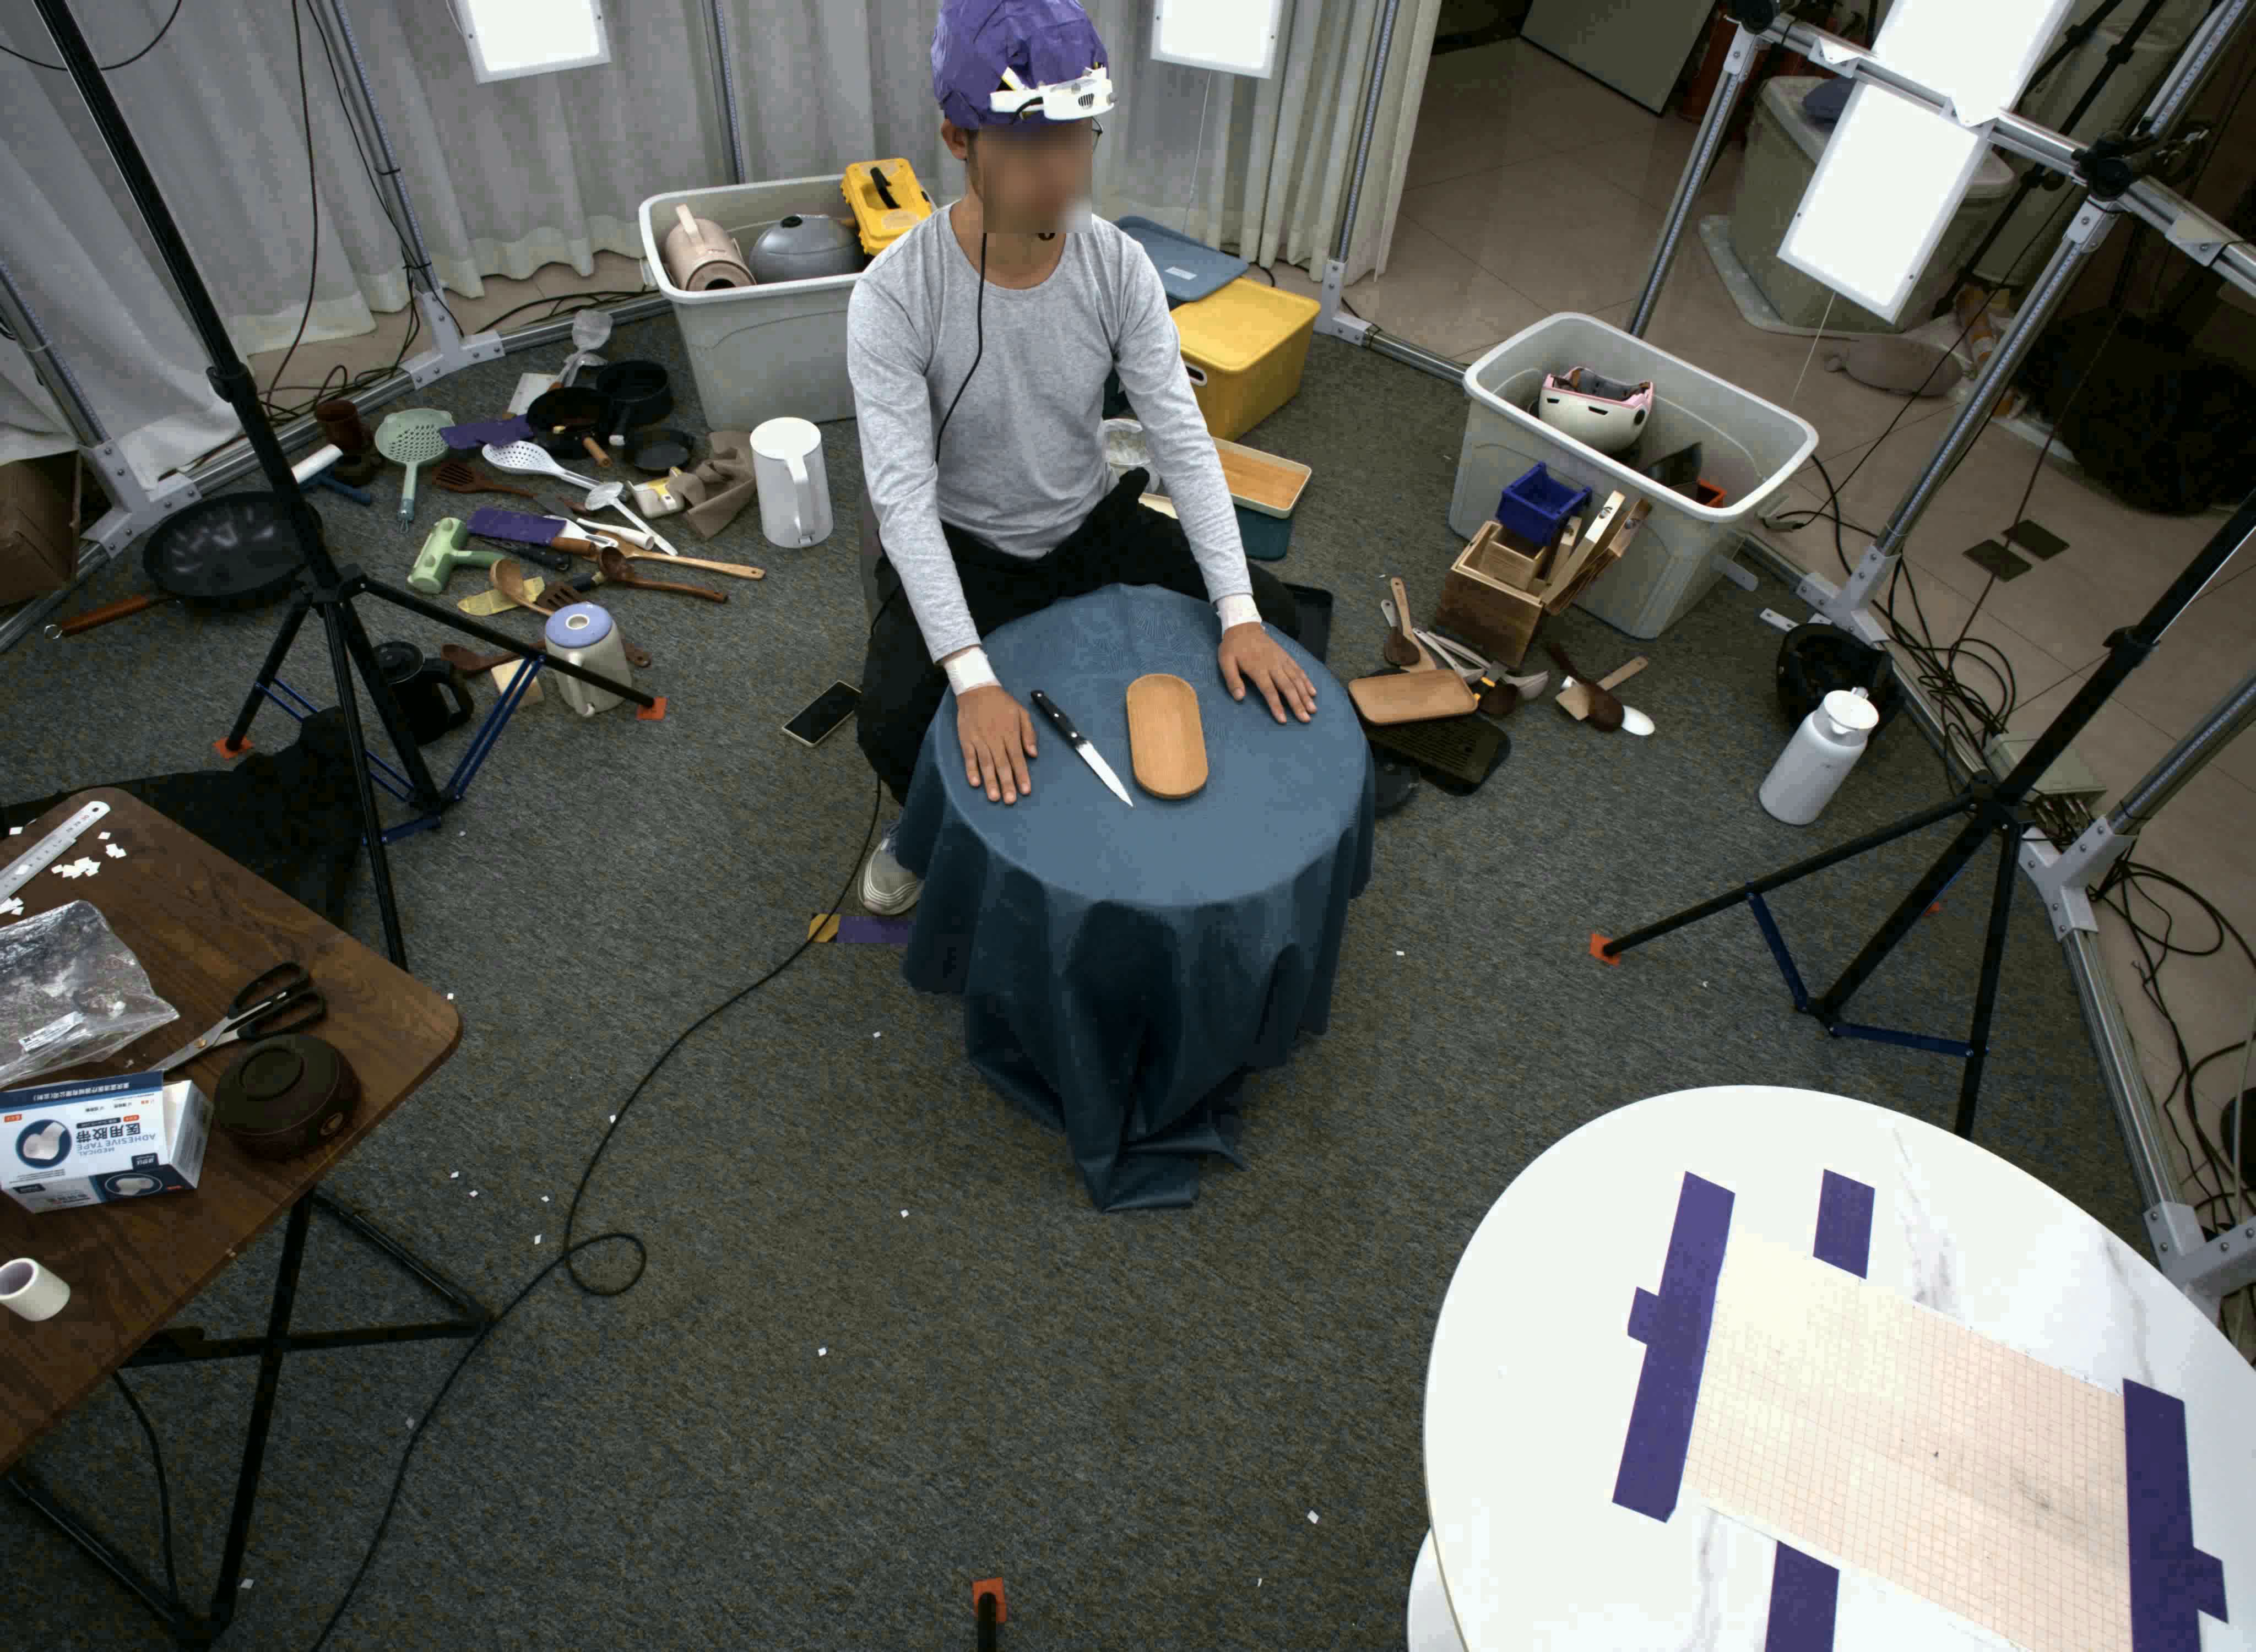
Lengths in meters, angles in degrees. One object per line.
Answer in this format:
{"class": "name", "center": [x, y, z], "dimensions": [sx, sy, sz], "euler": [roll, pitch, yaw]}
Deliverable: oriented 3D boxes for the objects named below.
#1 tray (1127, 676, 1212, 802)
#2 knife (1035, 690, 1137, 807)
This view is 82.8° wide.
{"class": "tray", "center": [0.055, -0.123, 1.768], "dimensions": [0.101, 0.020, 0.237], "euler": [-3, 51, -5]}
{"class": "knife", "center": [-0.060, -0.105, 1.747], "dimensions": [0.024, 0.016, 0.242], "euler": [-25, 58, -25]}
